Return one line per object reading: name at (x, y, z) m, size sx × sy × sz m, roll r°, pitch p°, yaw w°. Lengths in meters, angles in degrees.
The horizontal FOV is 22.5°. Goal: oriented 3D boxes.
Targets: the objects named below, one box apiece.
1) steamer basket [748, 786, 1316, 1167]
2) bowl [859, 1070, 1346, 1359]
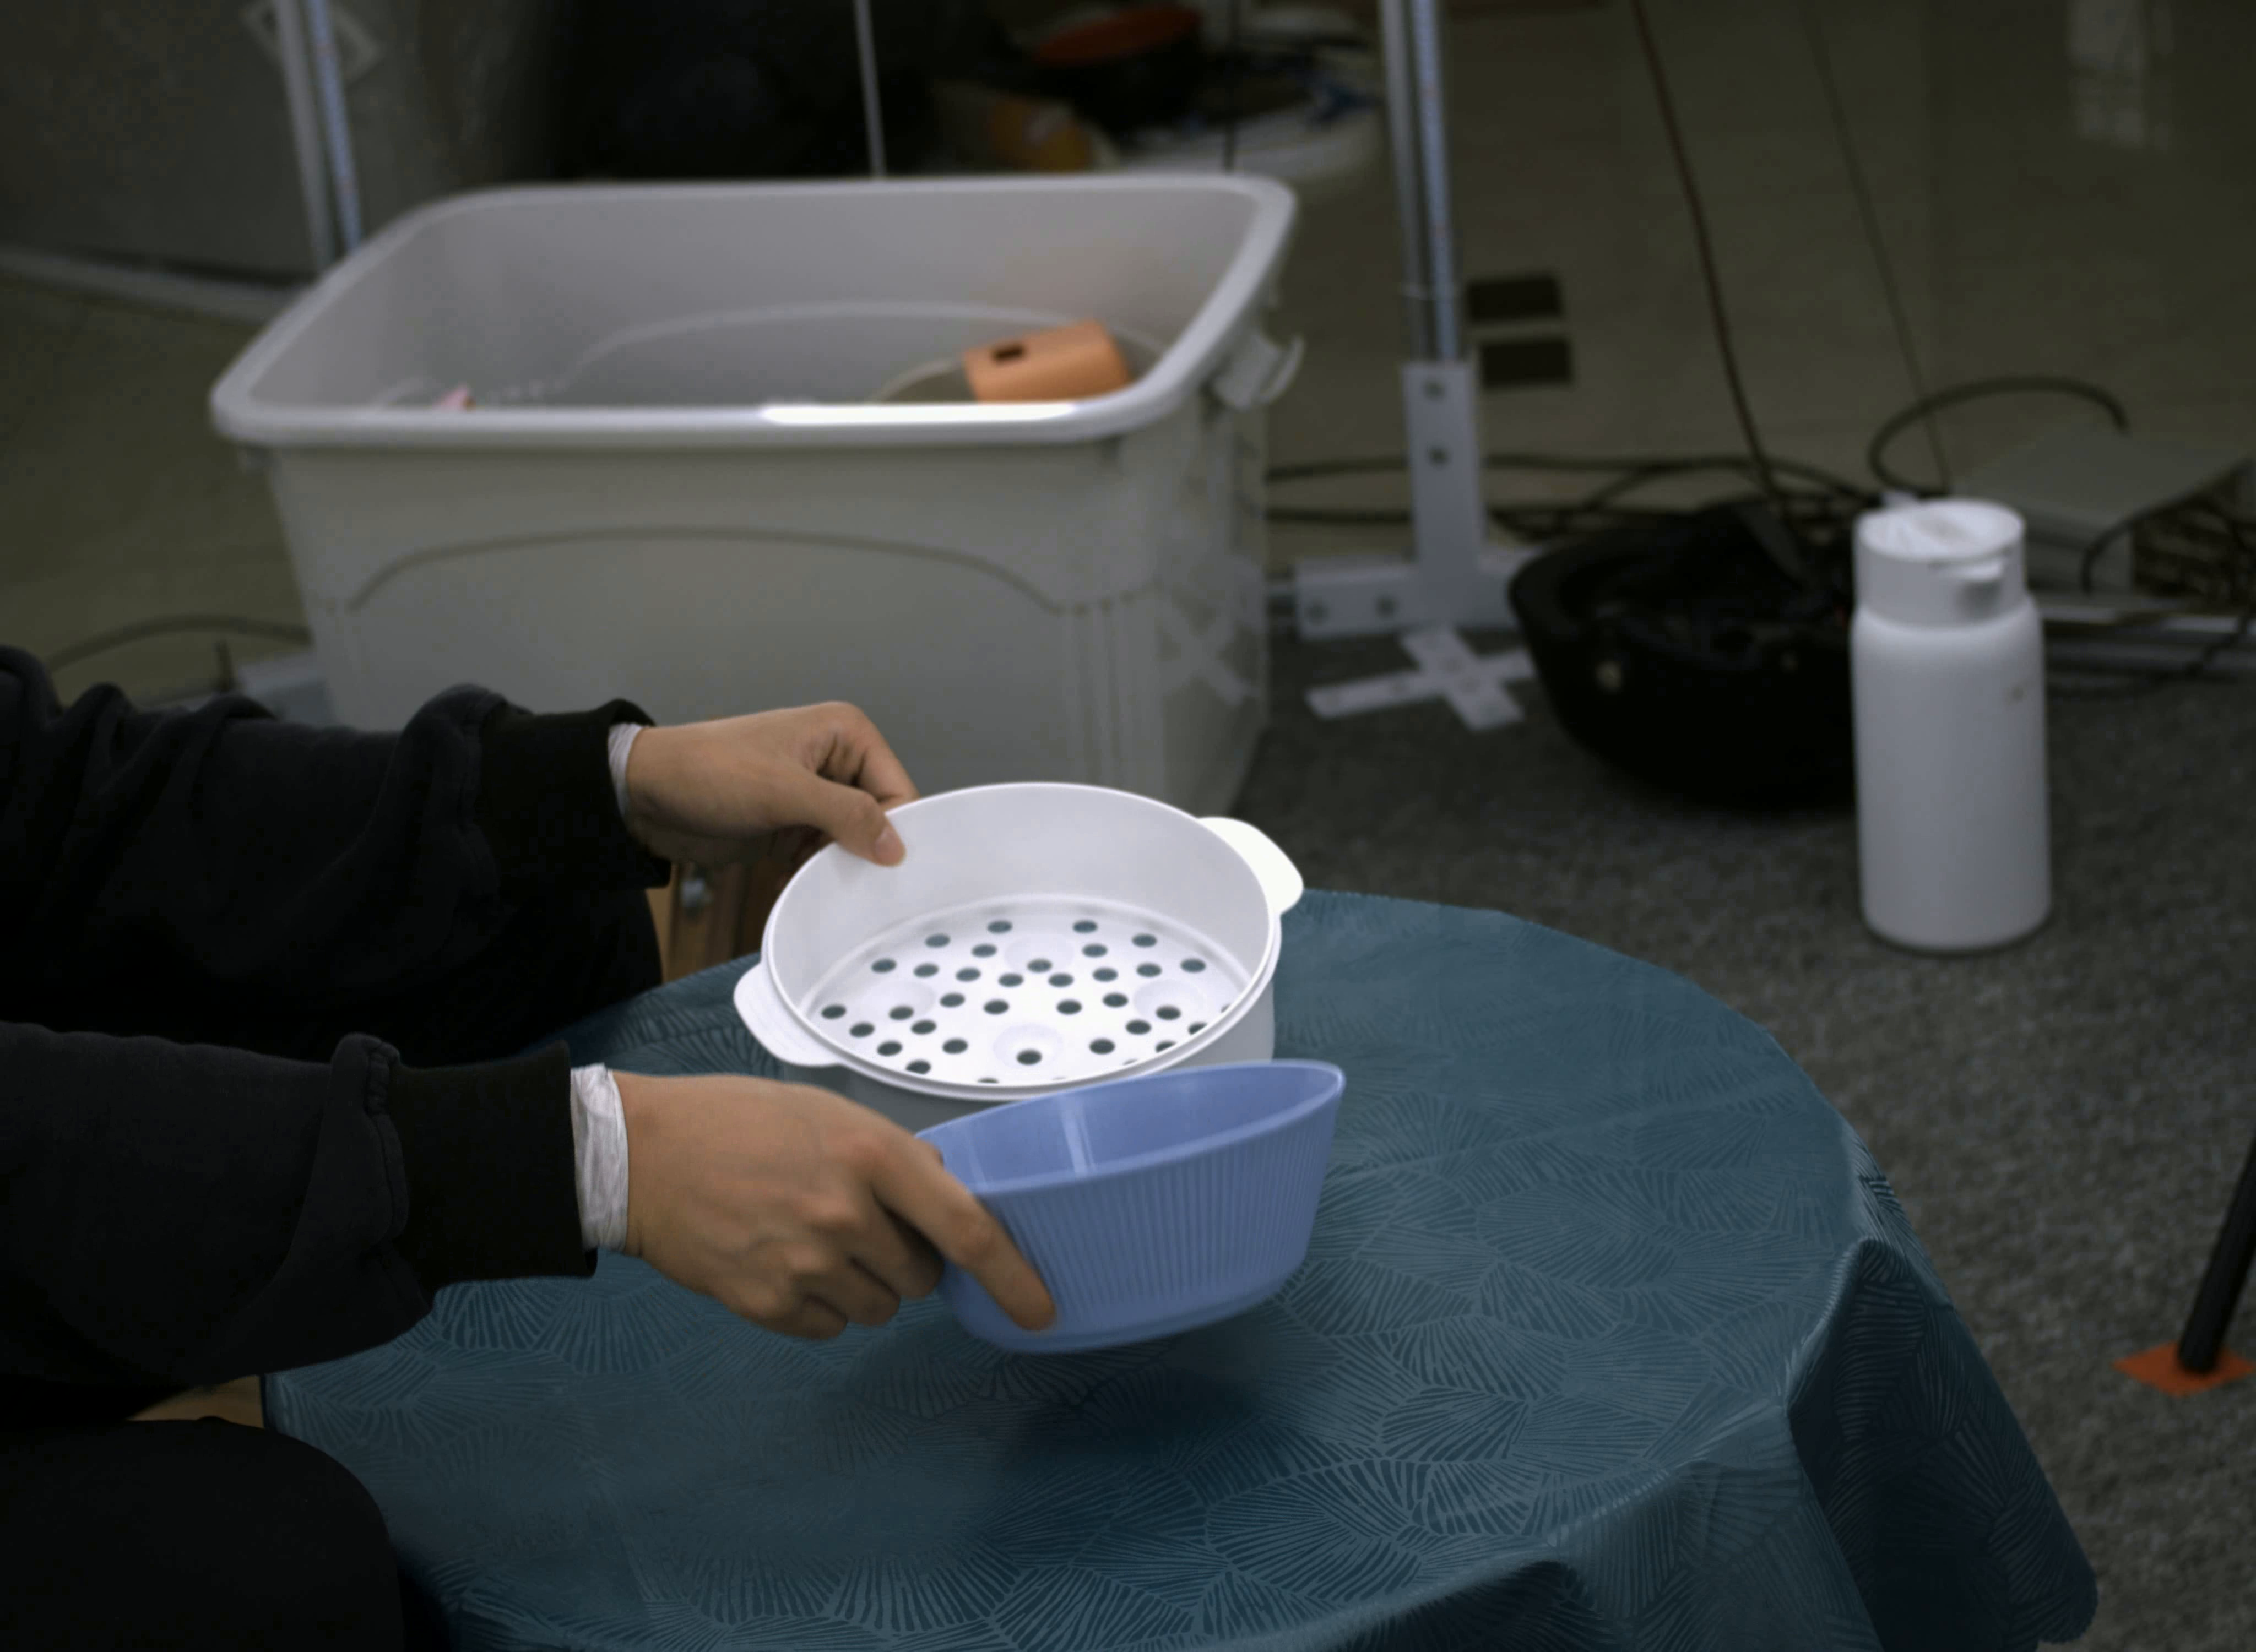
steamer basket at (-0.035, 0.066, 2.207) m, size 0.229 × 0.070 × 0.199 m, roll -17°, pitch 38°, yaw -22°
bowl at (-0.003, 0.139, 1.994) m, size 0.176 × 0.071 × 0.175 m, roll -11°, pitch 7°, yaw 2°
